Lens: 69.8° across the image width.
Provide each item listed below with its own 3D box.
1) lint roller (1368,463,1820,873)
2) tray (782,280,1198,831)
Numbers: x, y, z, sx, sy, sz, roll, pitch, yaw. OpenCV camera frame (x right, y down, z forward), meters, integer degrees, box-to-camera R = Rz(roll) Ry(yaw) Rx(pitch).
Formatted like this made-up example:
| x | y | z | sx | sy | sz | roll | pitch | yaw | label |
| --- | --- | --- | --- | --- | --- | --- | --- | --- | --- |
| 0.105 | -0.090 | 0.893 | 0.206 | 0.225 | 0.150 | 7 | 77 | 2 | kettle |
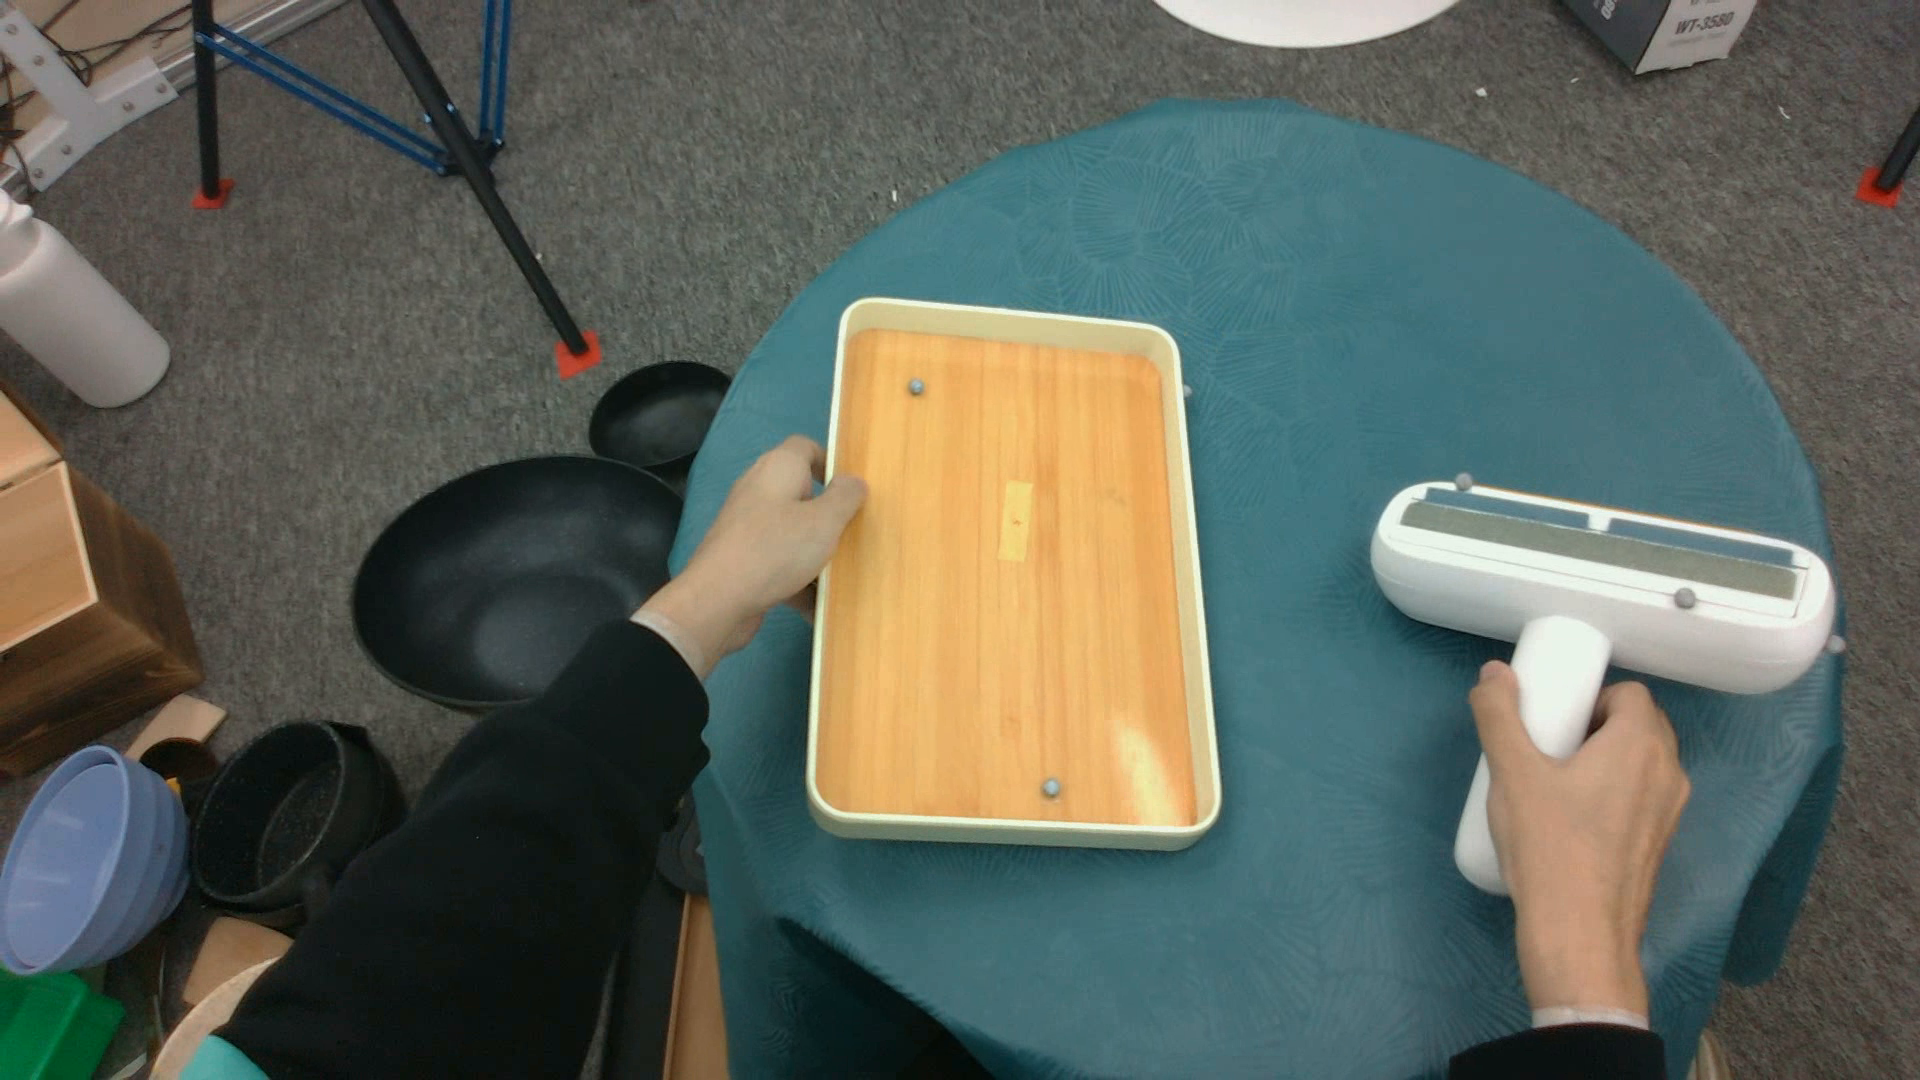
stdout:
| x | y | z | sx | sy | sz | roll | pitch | yaw | label |
| --- | --- | --- | --- | --- | --- | --- | --- | --- | --- |
| 0.256 | 0.057 | 0.615 | 0.192 | 0.074 | 0.193 | 20 | 57 | 30 | lint roller |
| 0.015 | -0.004 | 0.697 | 0.192 | 0.027 | 0.301 | 4 | 58 | -6 | tray |
